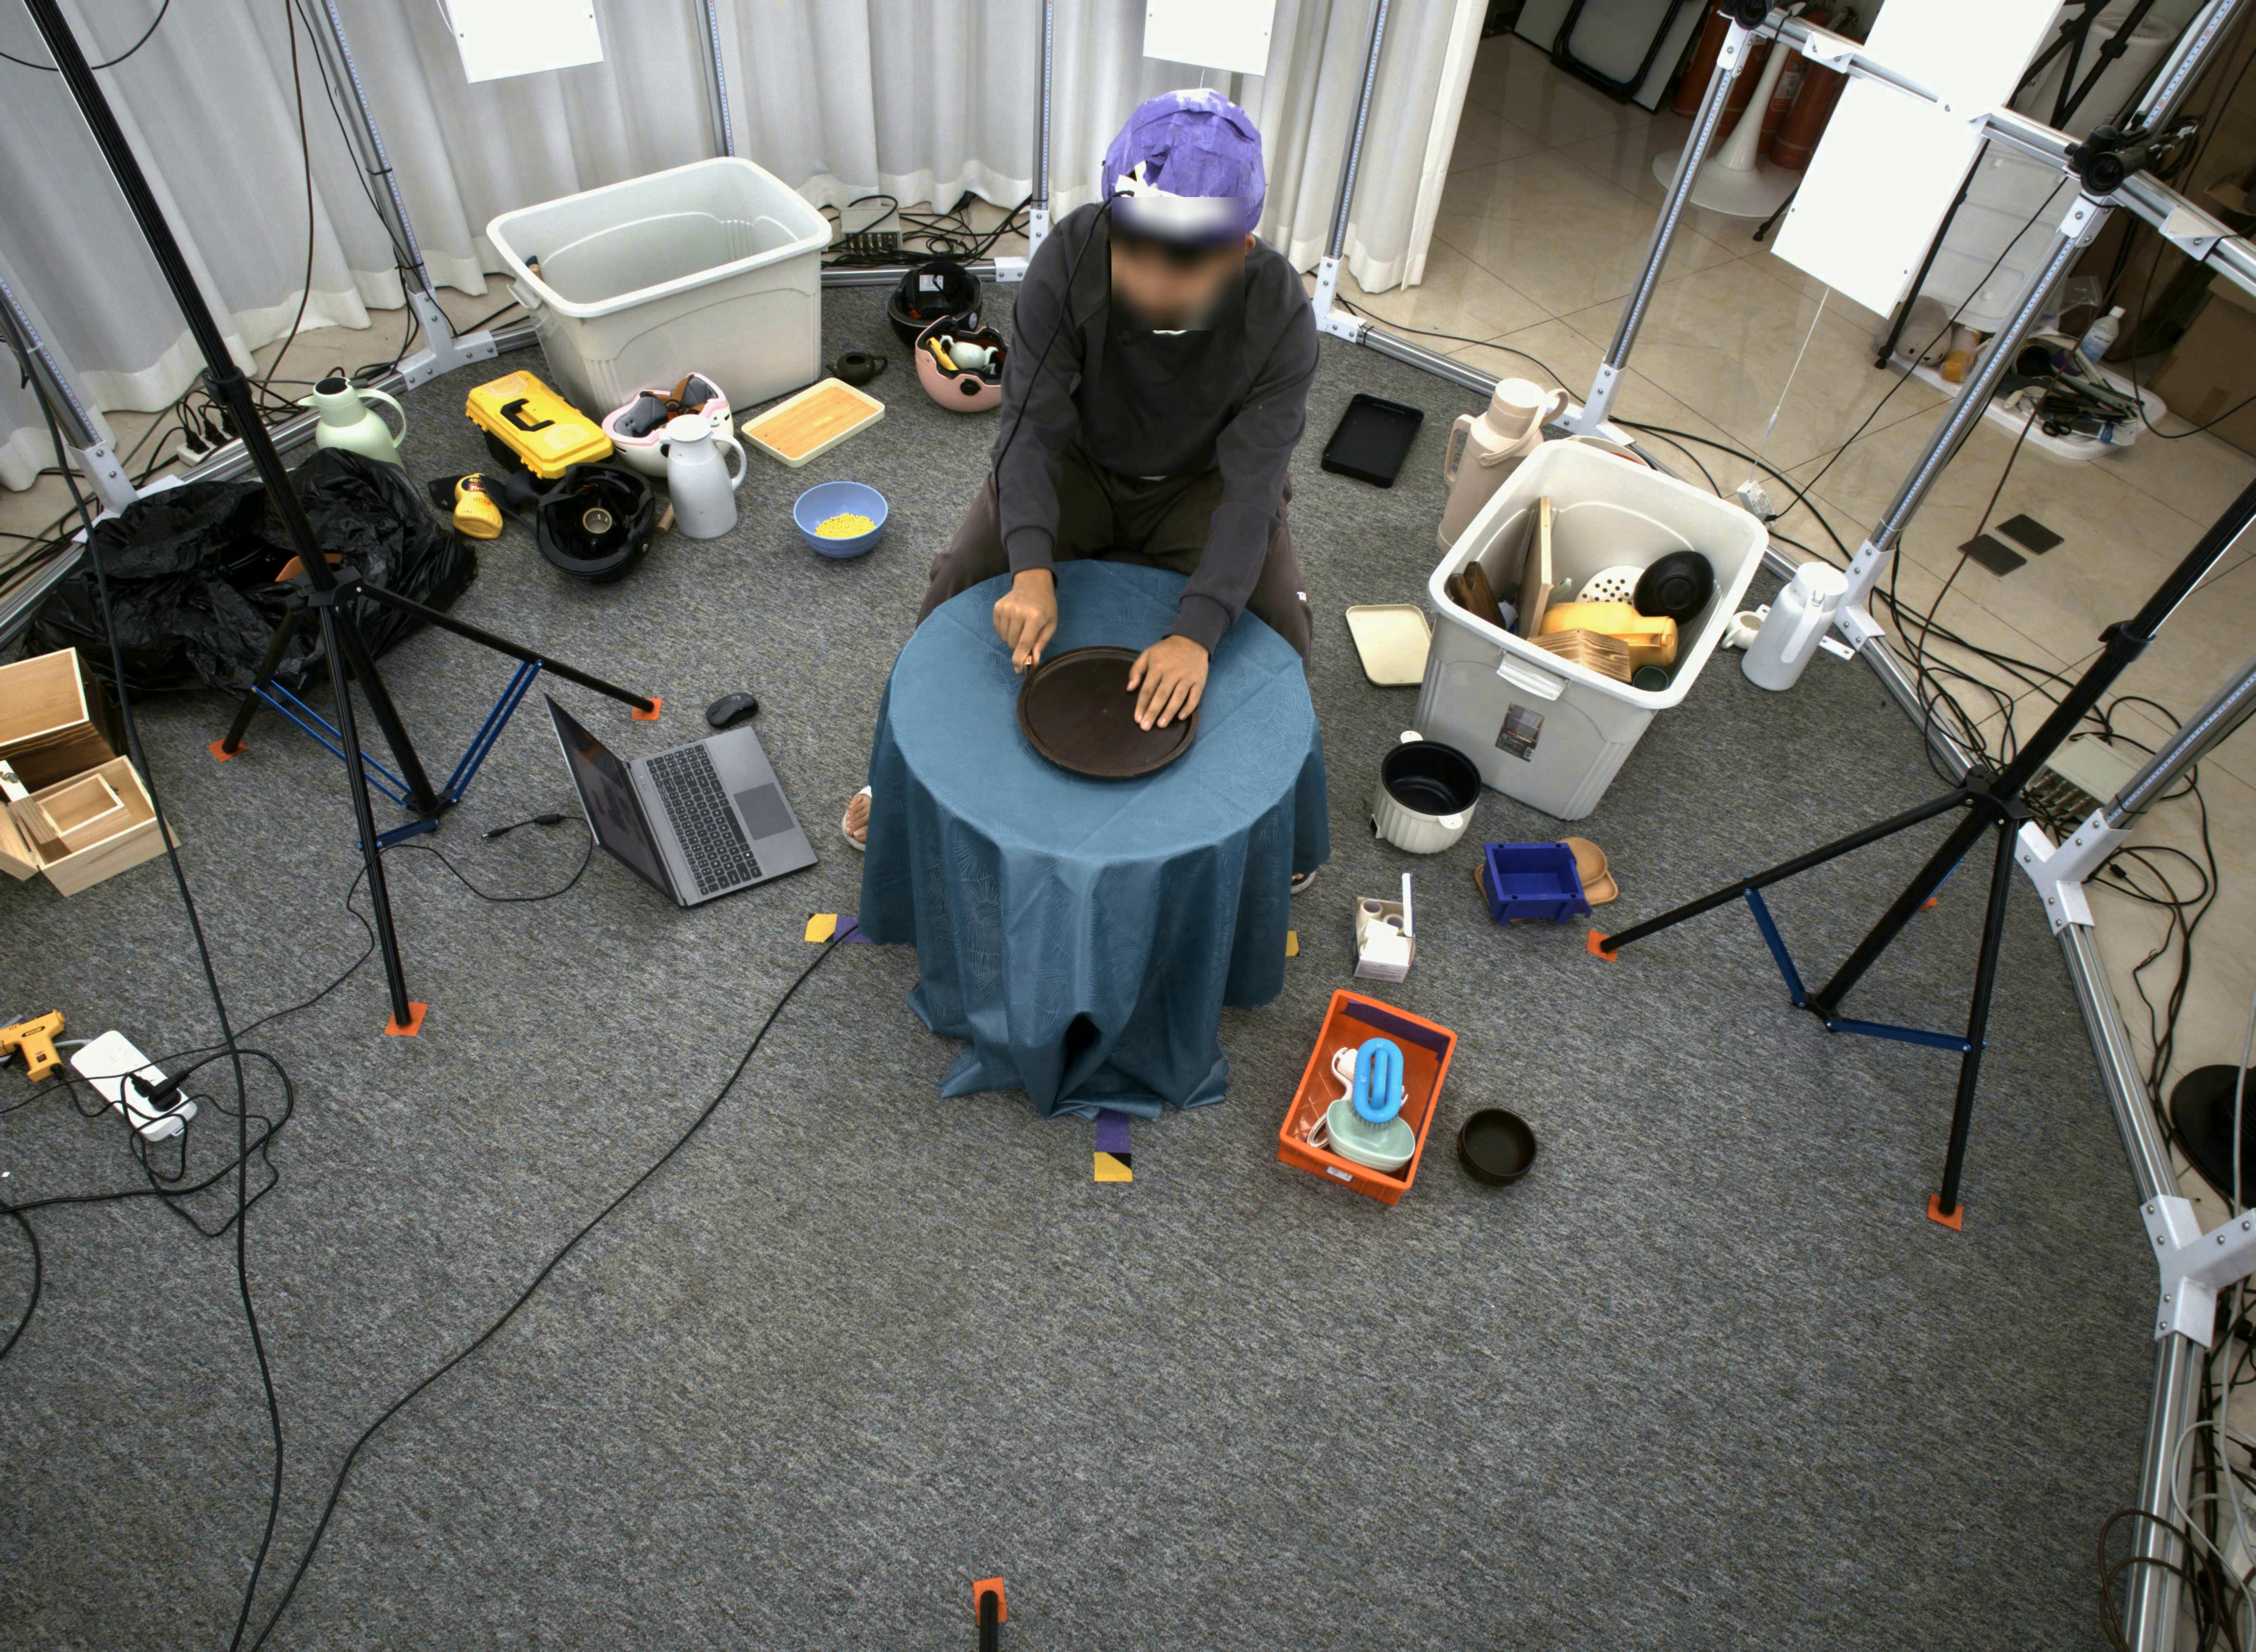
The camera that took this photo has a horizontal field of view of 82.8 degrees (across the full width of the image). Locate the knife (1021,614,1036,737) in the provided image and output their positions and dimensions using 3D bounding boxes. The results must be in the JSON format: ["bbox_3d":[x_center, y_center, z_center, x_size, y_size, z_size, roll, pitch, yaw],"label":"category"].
[{"bbox_3d":[-0.138,-0.214,1.800,0.017,0.025,0.231,-8,51,1],"label":"knife"}]

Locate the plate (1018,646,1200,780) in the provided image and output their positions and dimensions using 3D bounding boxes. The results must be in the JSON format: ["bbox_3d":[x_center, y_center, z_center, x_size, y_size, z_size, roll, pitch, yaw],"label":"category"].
[{"bbox_3d":[-0.026,-0.159,1.787,0.254,0.028,0.261,1,48,-2],"label":"plate"}]
